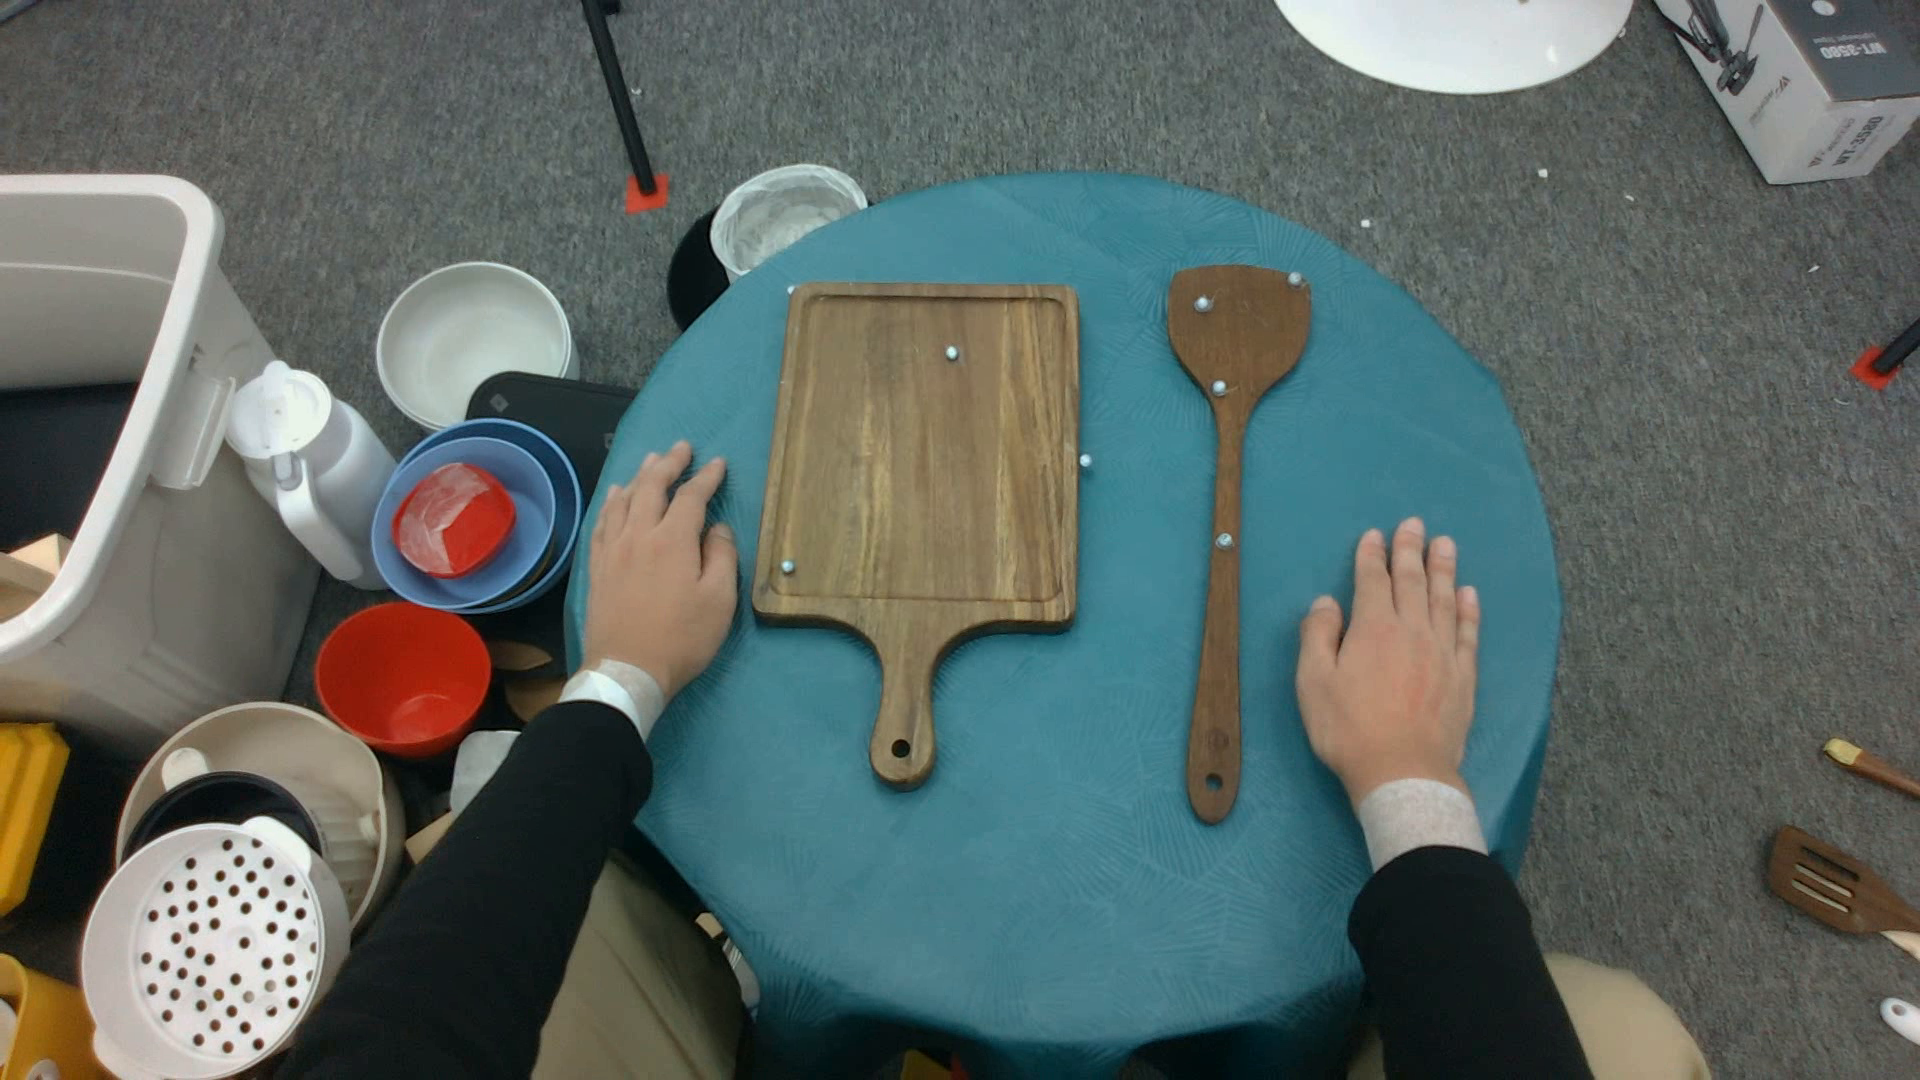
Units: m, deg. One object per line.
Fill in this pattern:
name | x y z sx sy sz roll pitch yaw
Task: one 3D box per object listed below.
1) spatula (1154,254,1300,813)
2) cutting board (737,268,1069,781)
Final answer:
spatula | 0.158 -0.022 0.847 0.096 0.016 0.387 5 63 5
cutting board | -0.033 -0.024 0.850 0.201 0.023 0.353 1 62 3
